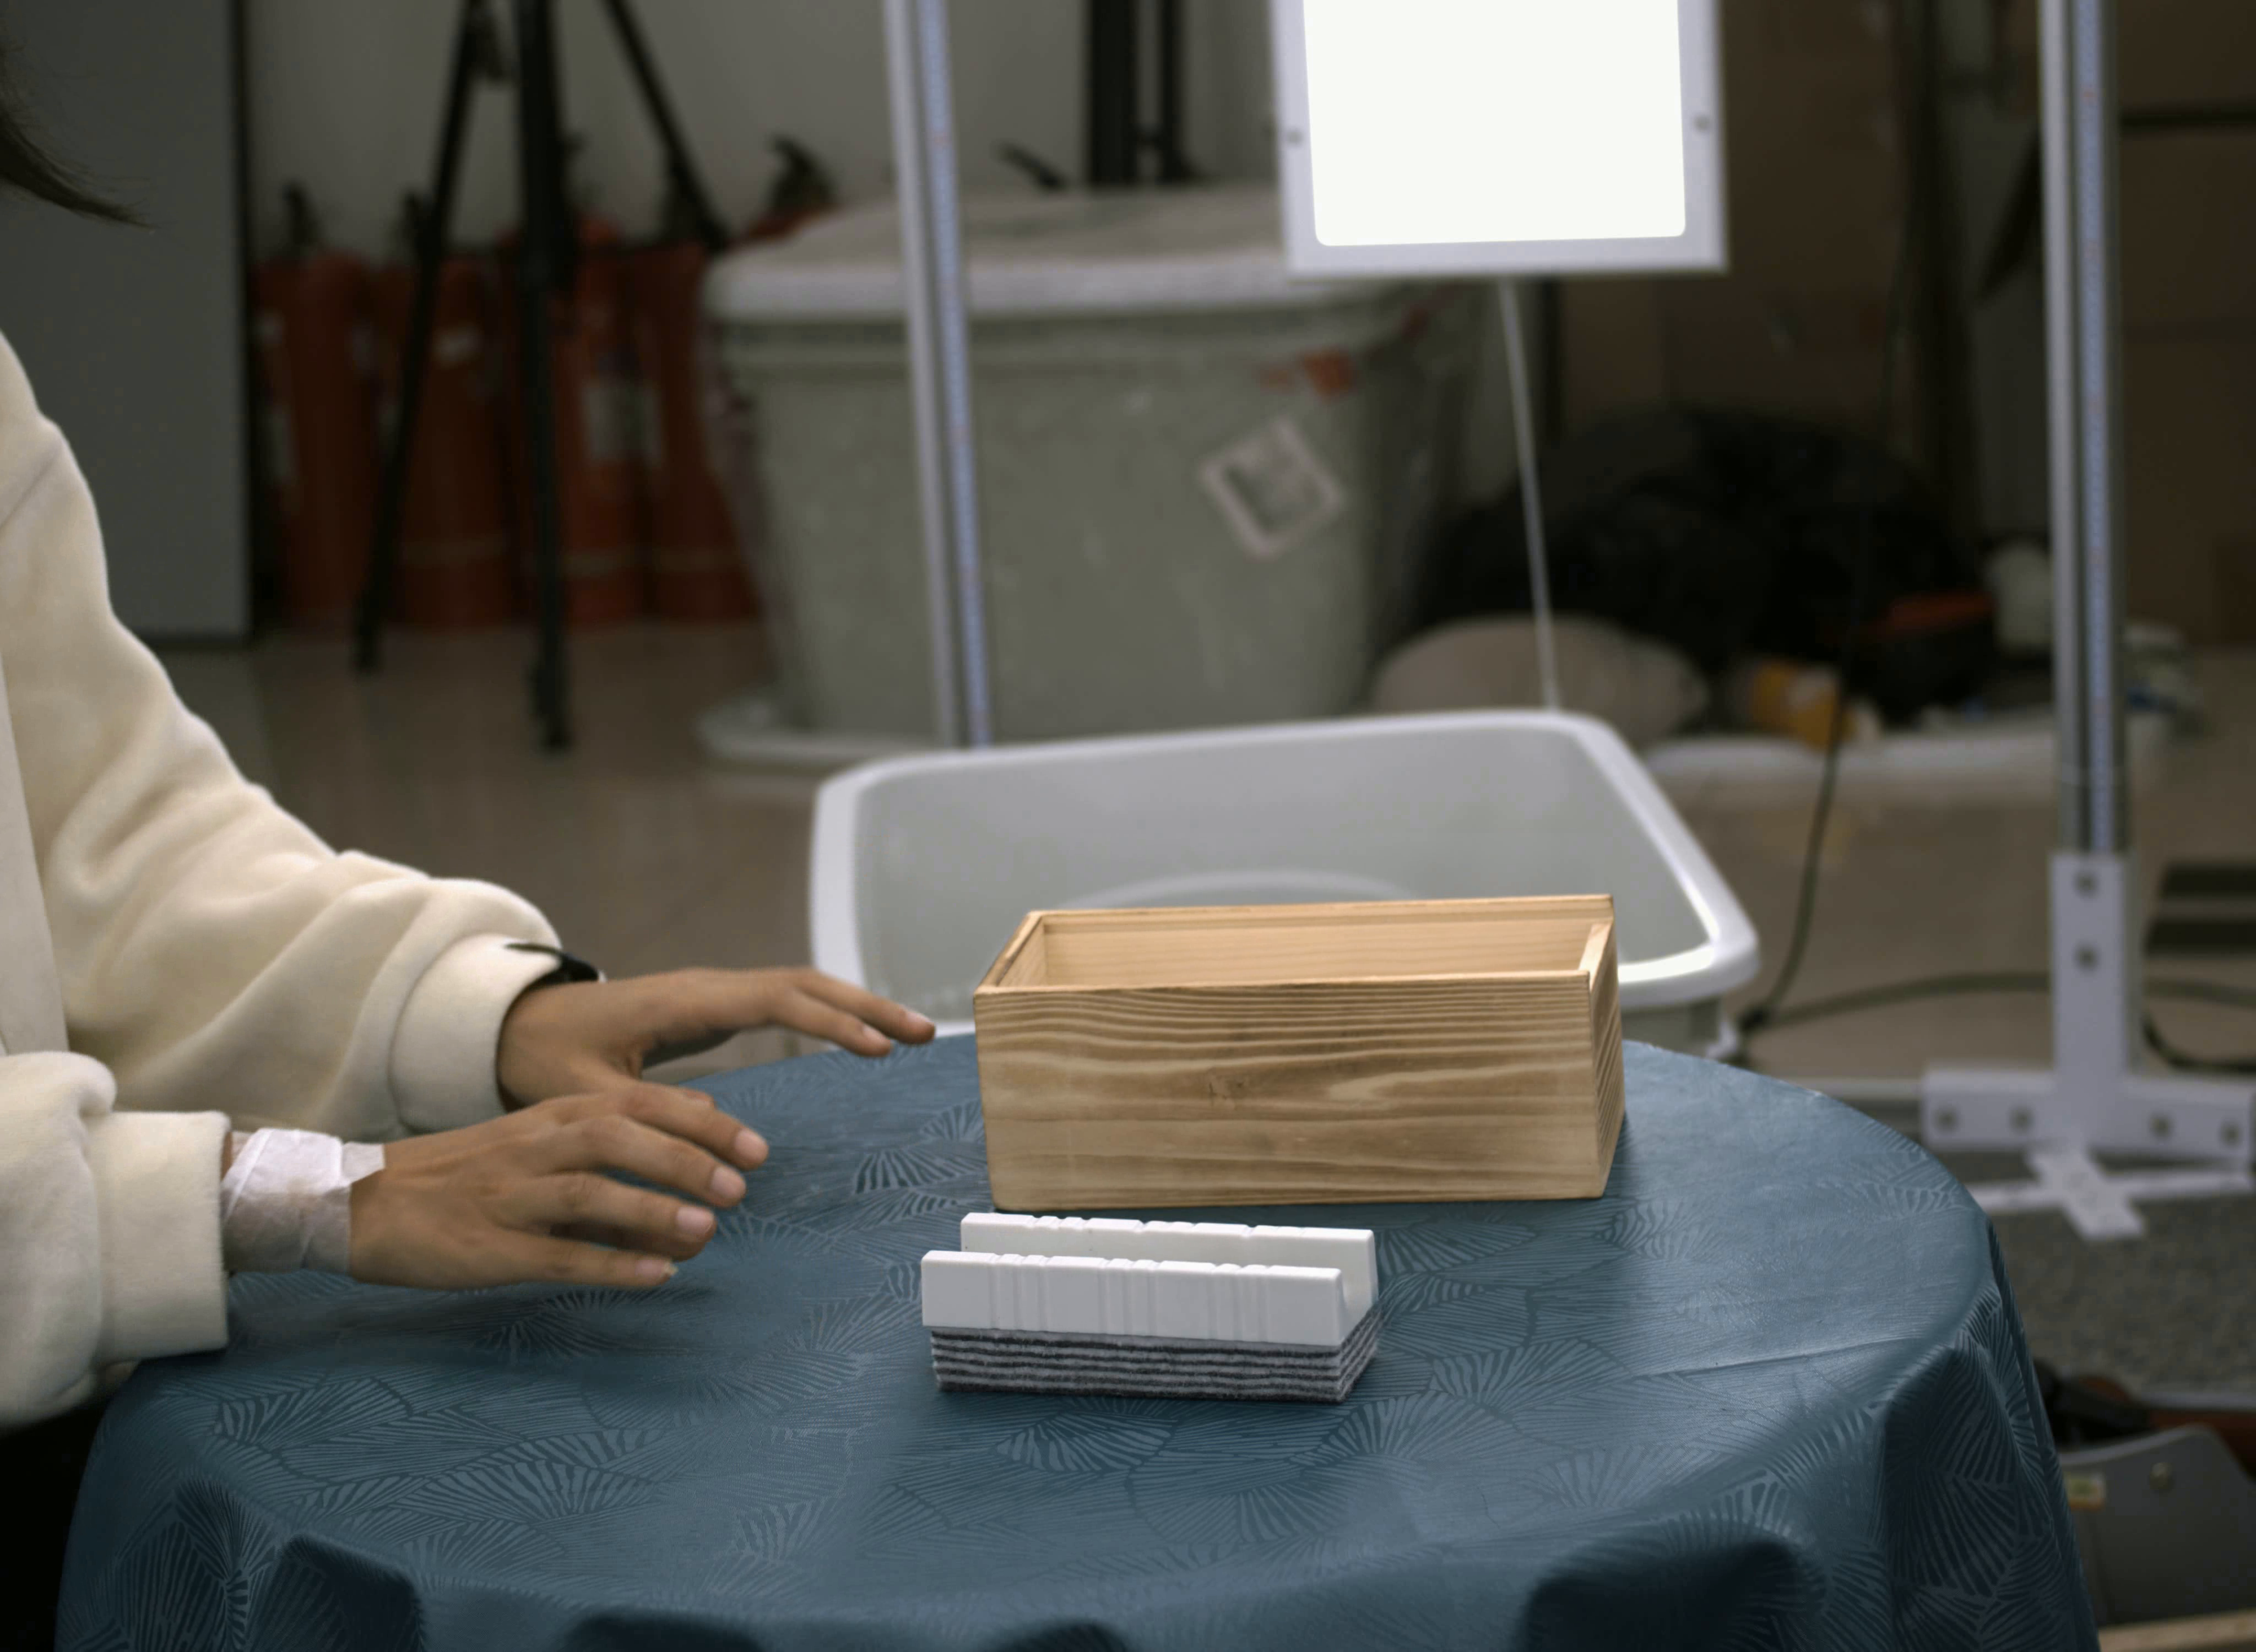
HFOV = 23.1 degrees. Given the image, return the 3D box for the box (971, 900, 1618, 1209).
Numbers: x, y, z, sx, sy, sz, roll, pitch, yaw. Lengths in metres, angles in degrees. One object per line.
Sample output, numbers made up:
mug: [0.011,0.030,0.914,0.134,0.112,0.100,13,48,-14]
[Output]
box: [0.060,0.078,1.907,0.213,0.080,0.106,-2,14,11]

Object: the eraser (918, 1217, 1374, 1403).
eraser: [0.006,0.149,1.705,0.136,0.047,0.049,1,16,17]
